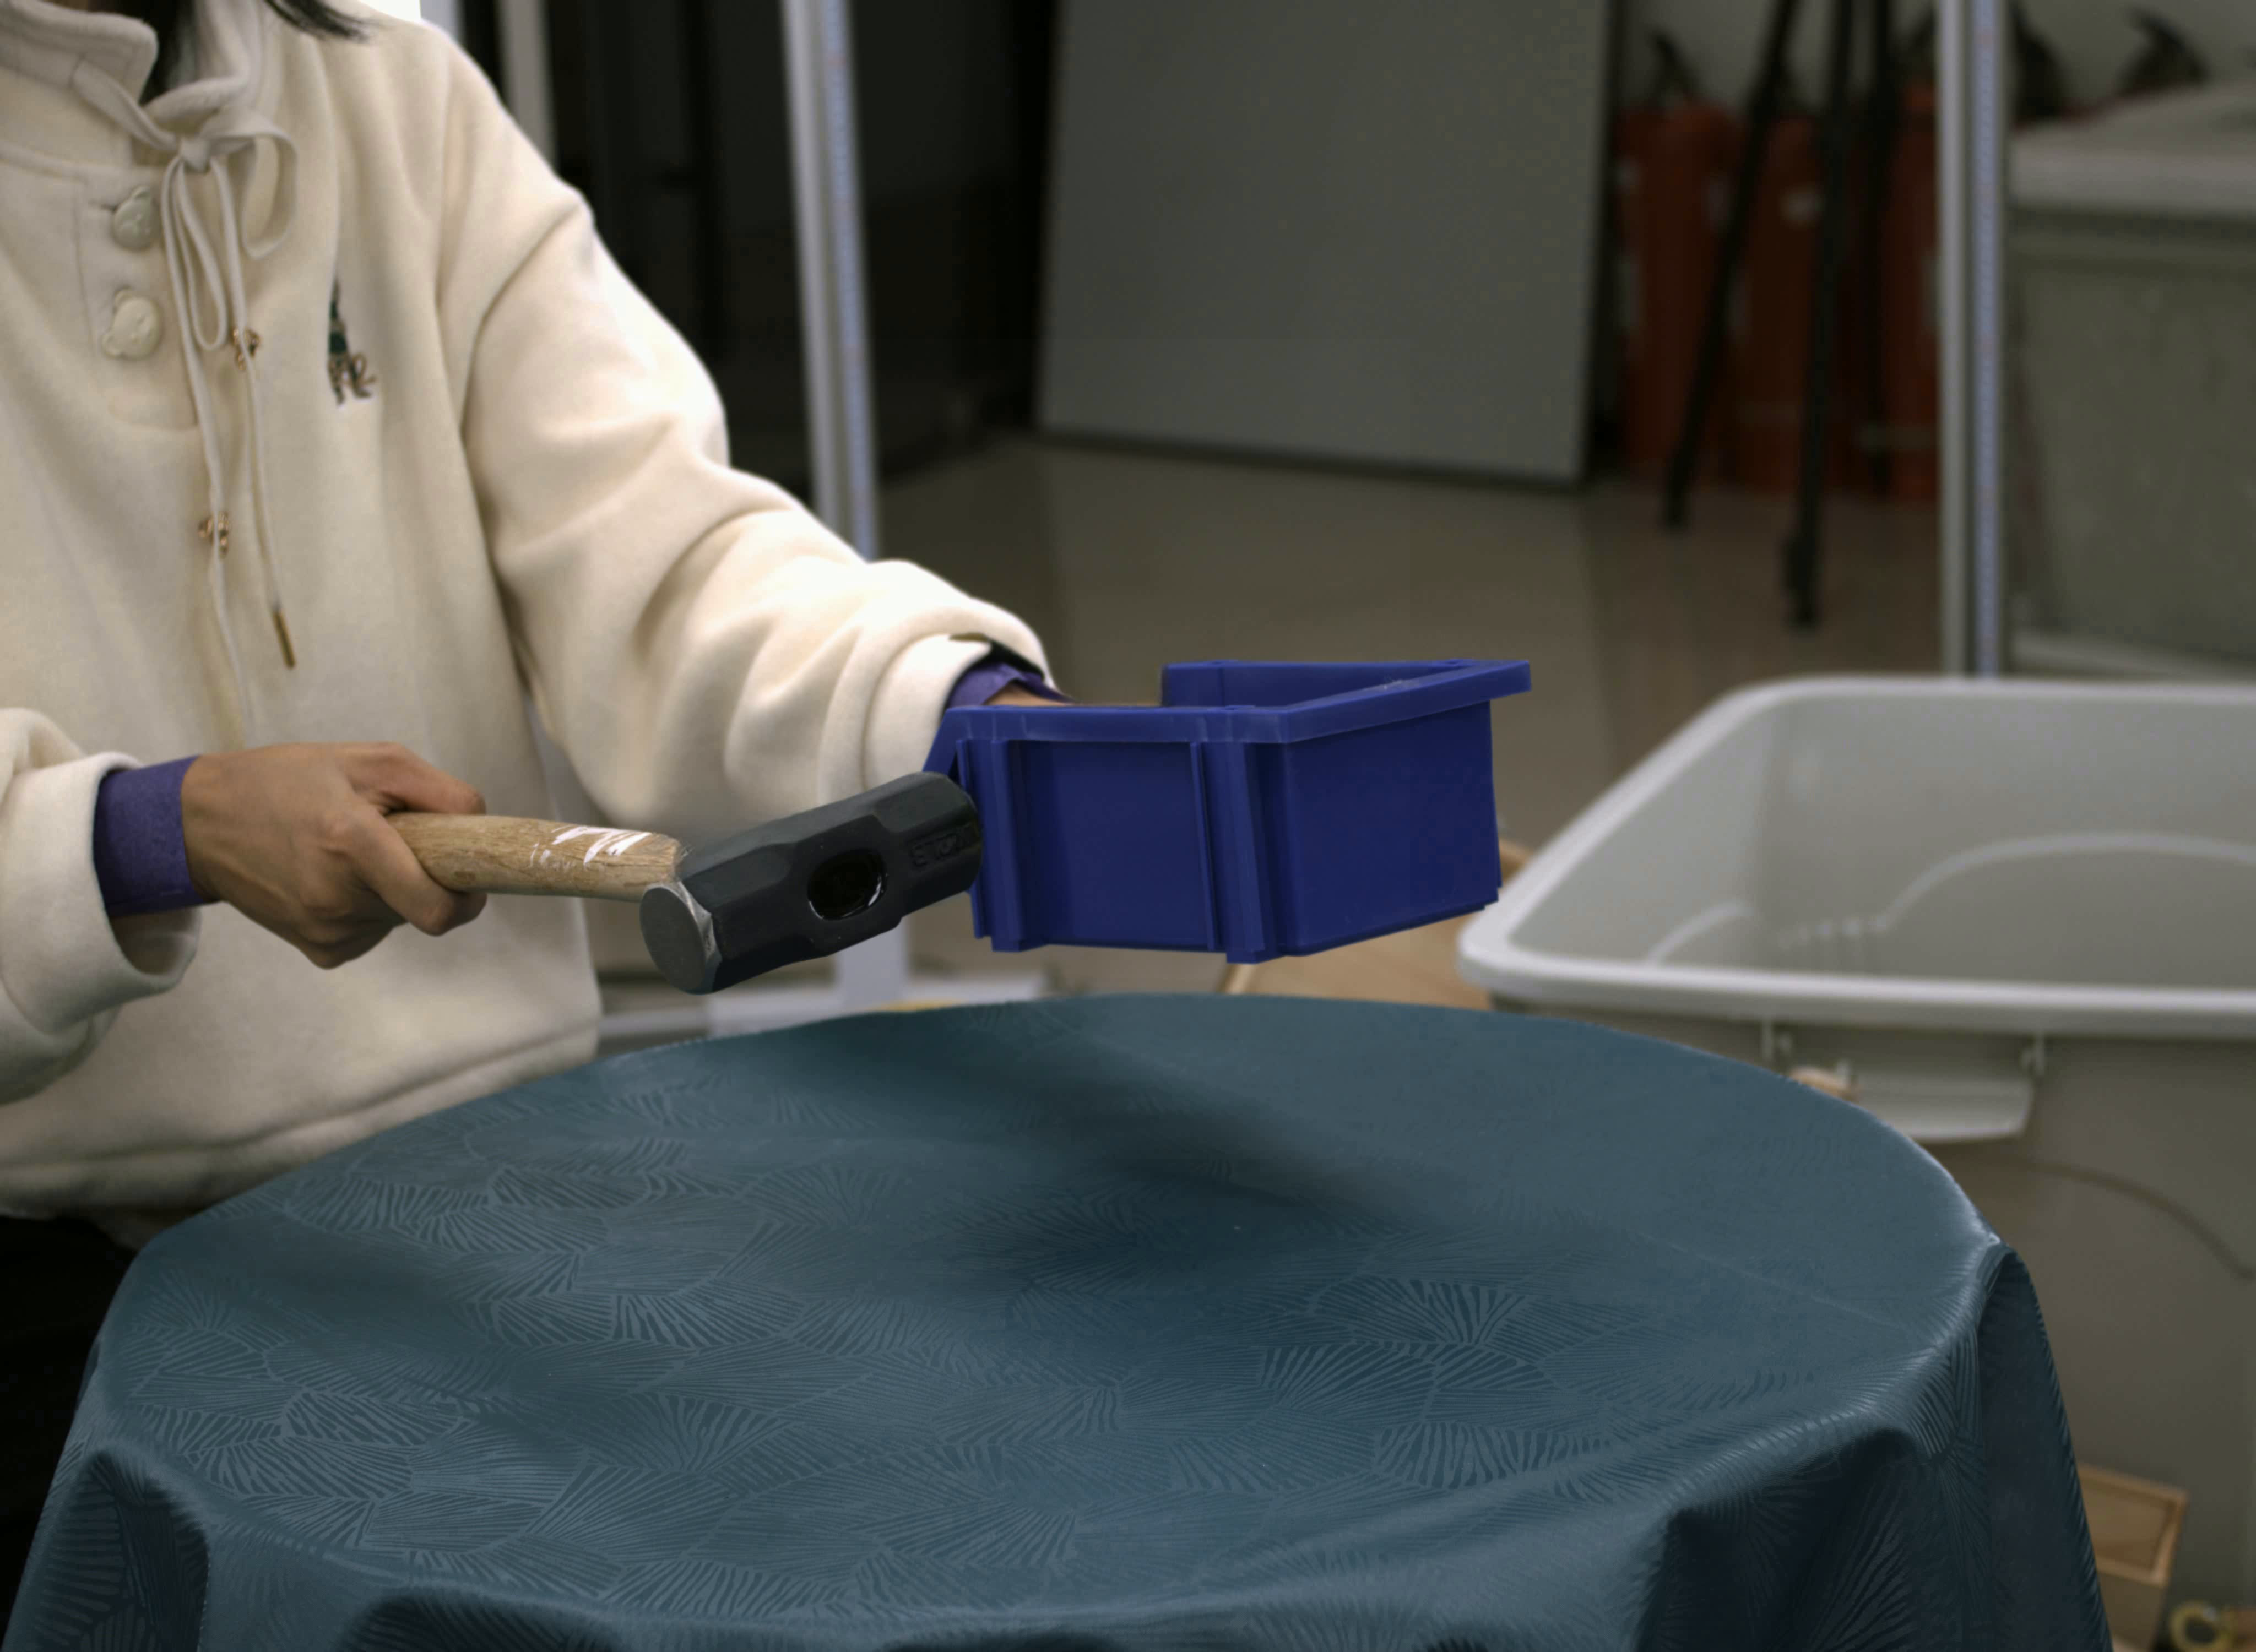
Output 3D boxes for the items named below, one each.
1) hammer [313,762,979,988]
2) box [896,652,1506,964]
[{"bbox_3d":[-0.173,0.008,1.702,0.105,0.038,0.308,-22,15,-33],"label":"hammer"},{"bbox_3d":[0.018,-0.008,1.751,0.122,0.083,0.181,-12,11,-44],"label":"box"}]
